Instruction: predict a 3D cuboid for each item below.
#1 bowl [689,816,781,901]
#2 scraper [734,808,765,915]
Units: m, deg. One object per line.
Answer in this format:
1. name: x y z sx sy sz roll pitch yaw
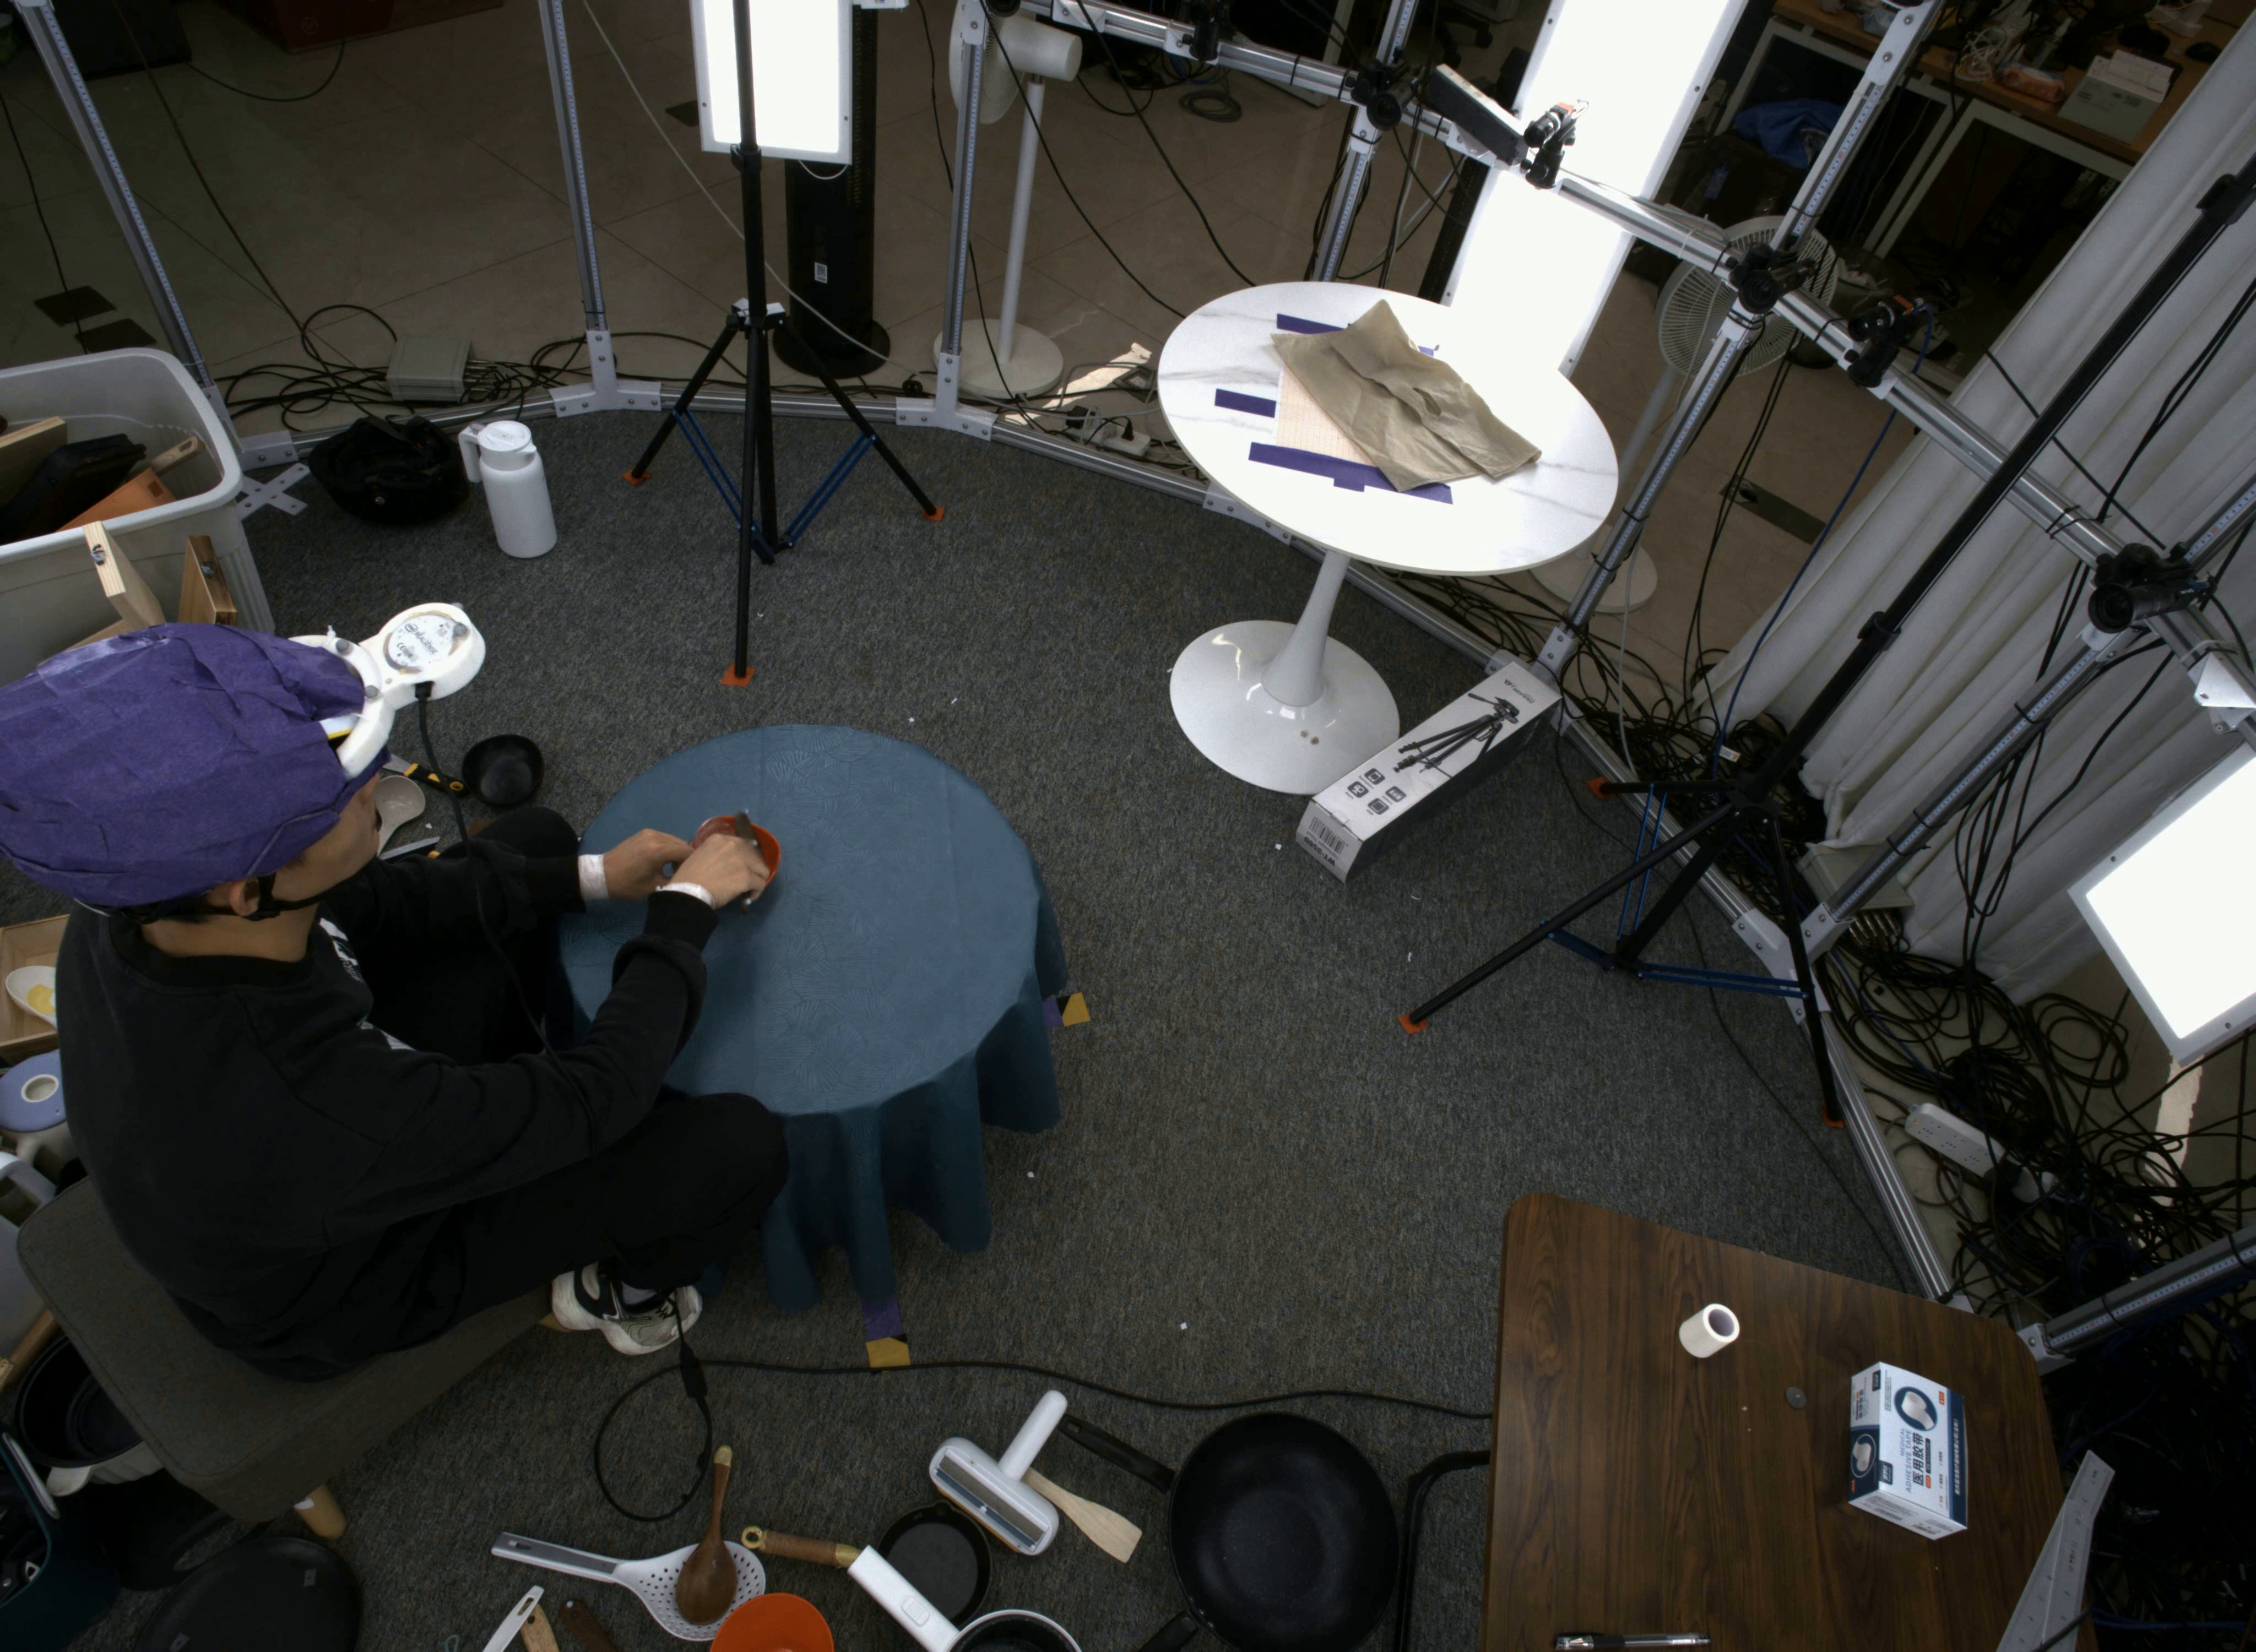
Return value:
1. bowl: -0.500 0.048 1.633 0.120 0.051 0.117 19 48 -20
2. scraper: -0.462 0.047 1.562 0.011 0.078 0.205 -20 28 -3
